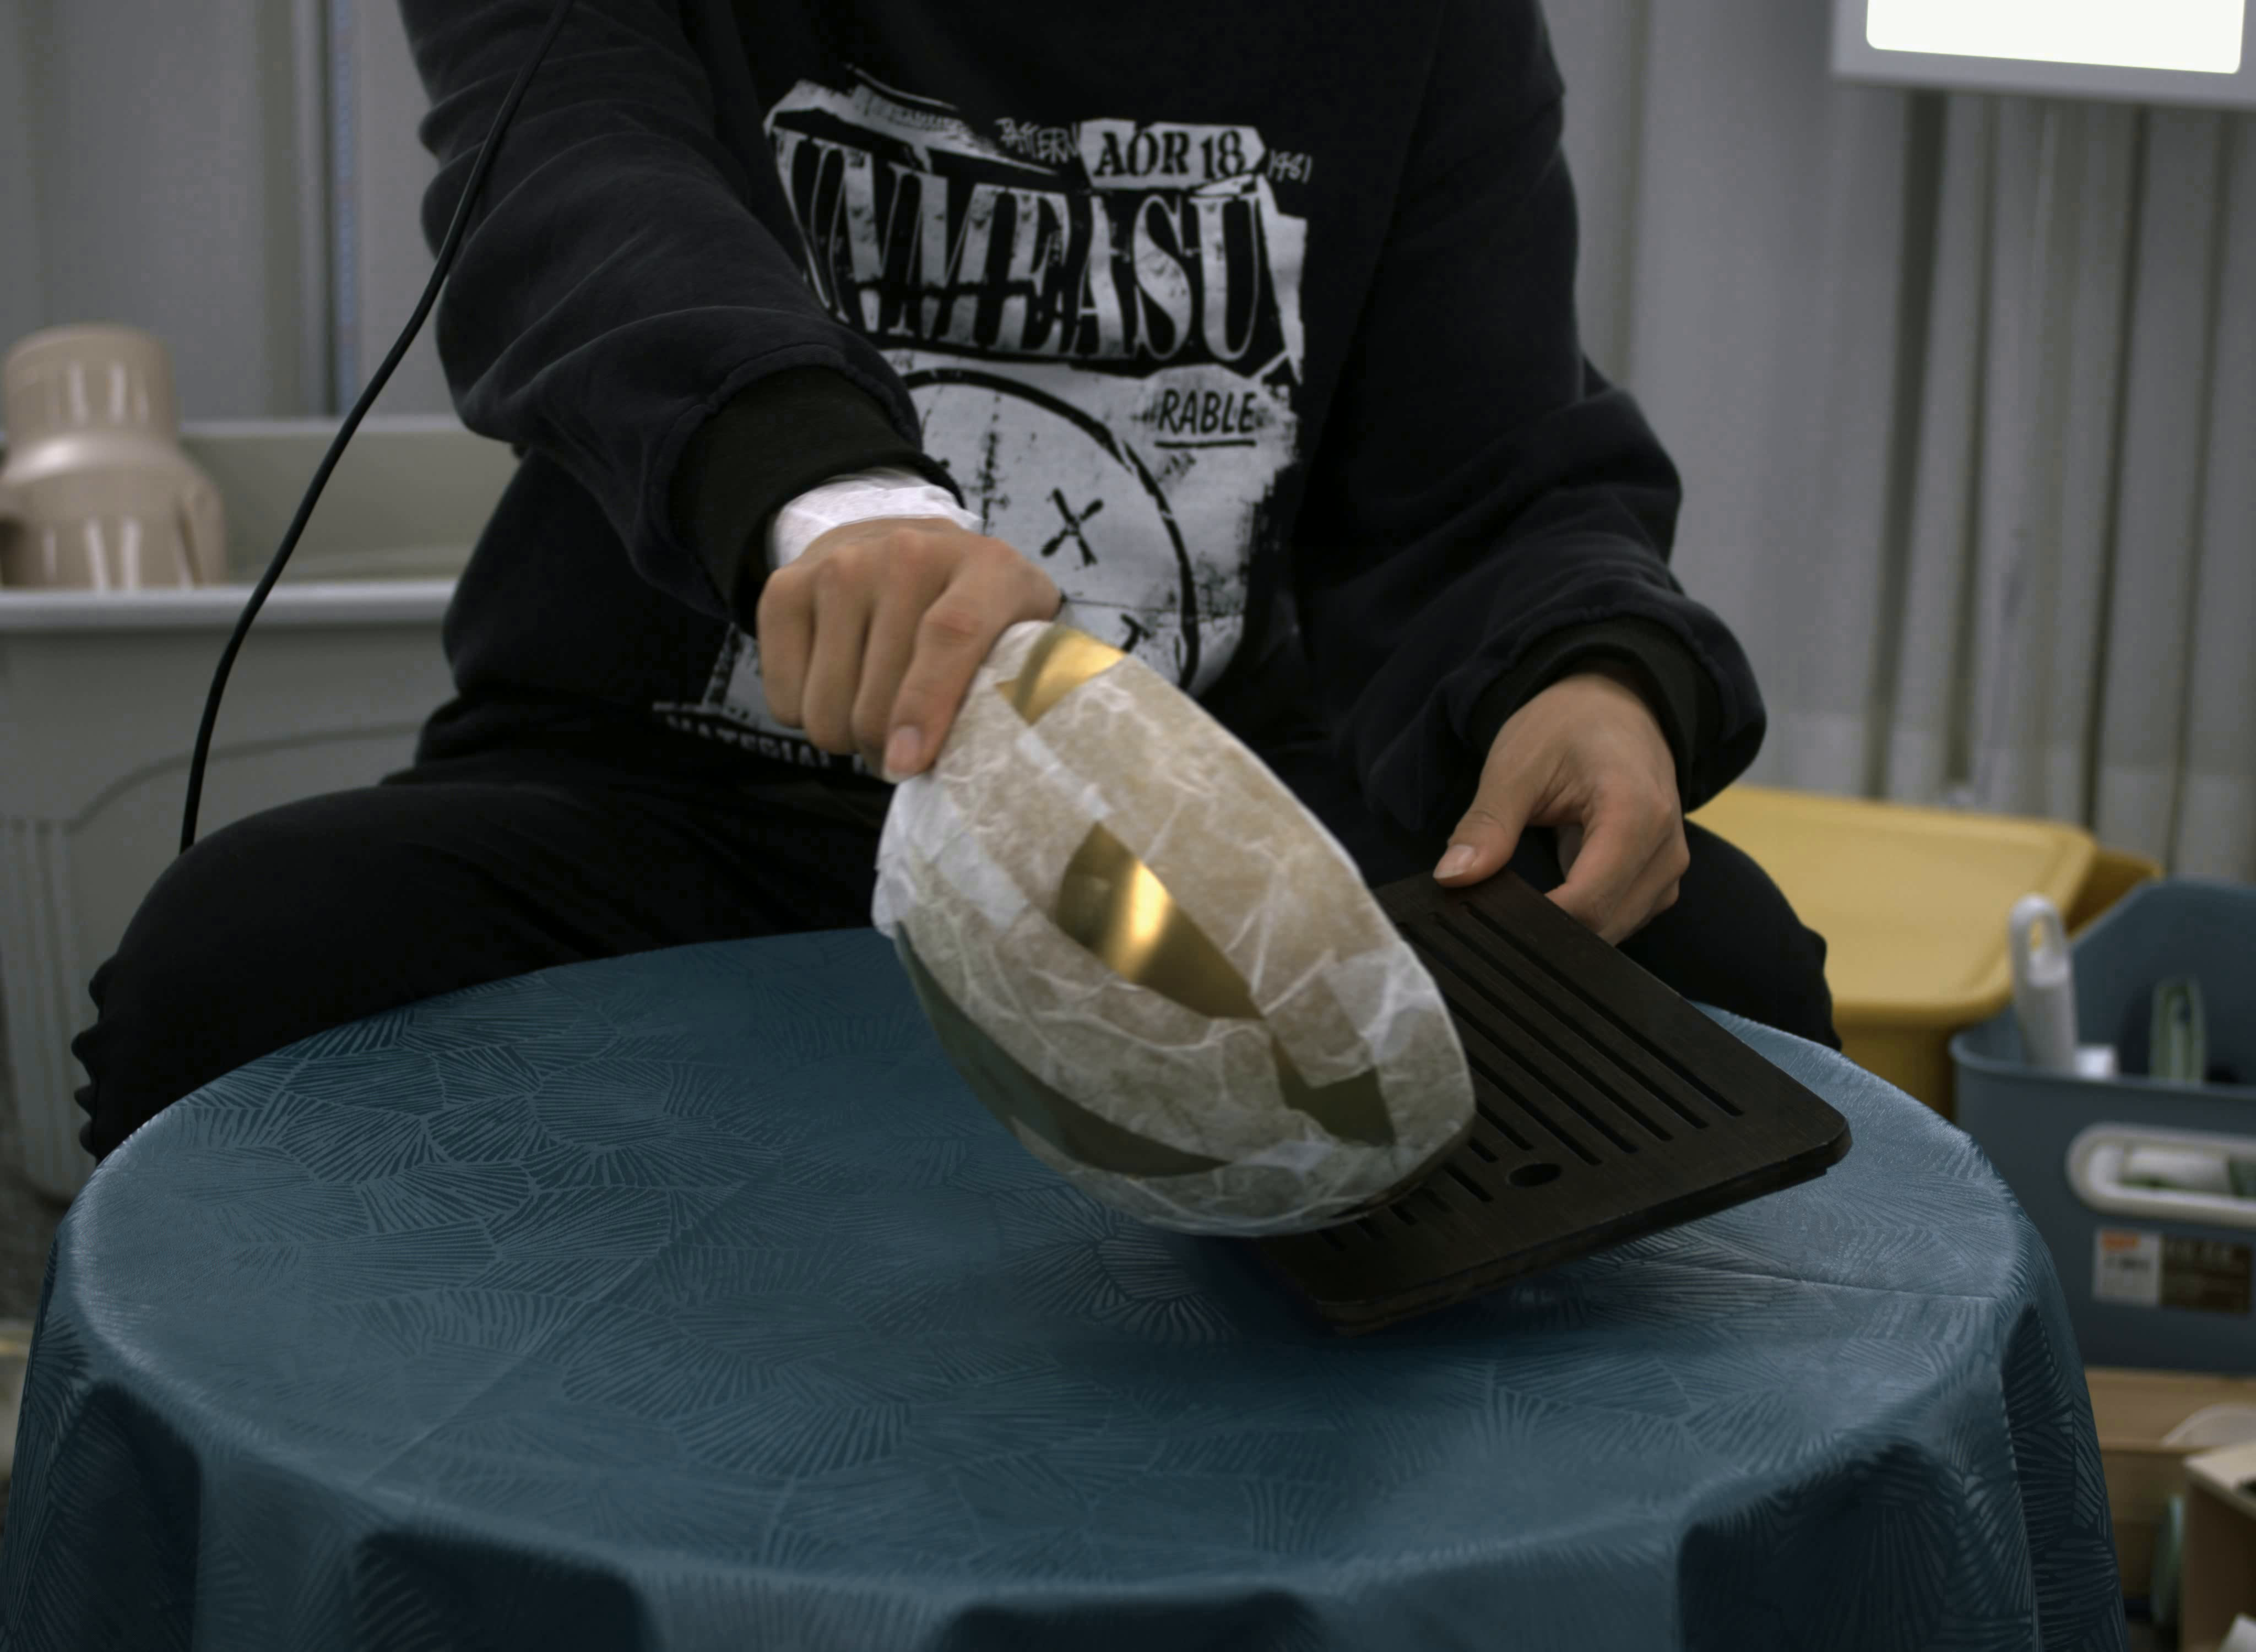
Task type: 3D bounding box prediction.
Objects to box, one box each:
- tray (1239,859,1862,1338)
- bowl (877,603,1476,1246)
[{"bbox_3d":[0.093,0.081,1.645,0.170,0.019,0.302,-17,20,-13],"label":"tray"},{"bbox_3d":[-0.004,0.049,1.494,0.094,0.217,0.212,-42,33,-16],"label":"bowl"}]
